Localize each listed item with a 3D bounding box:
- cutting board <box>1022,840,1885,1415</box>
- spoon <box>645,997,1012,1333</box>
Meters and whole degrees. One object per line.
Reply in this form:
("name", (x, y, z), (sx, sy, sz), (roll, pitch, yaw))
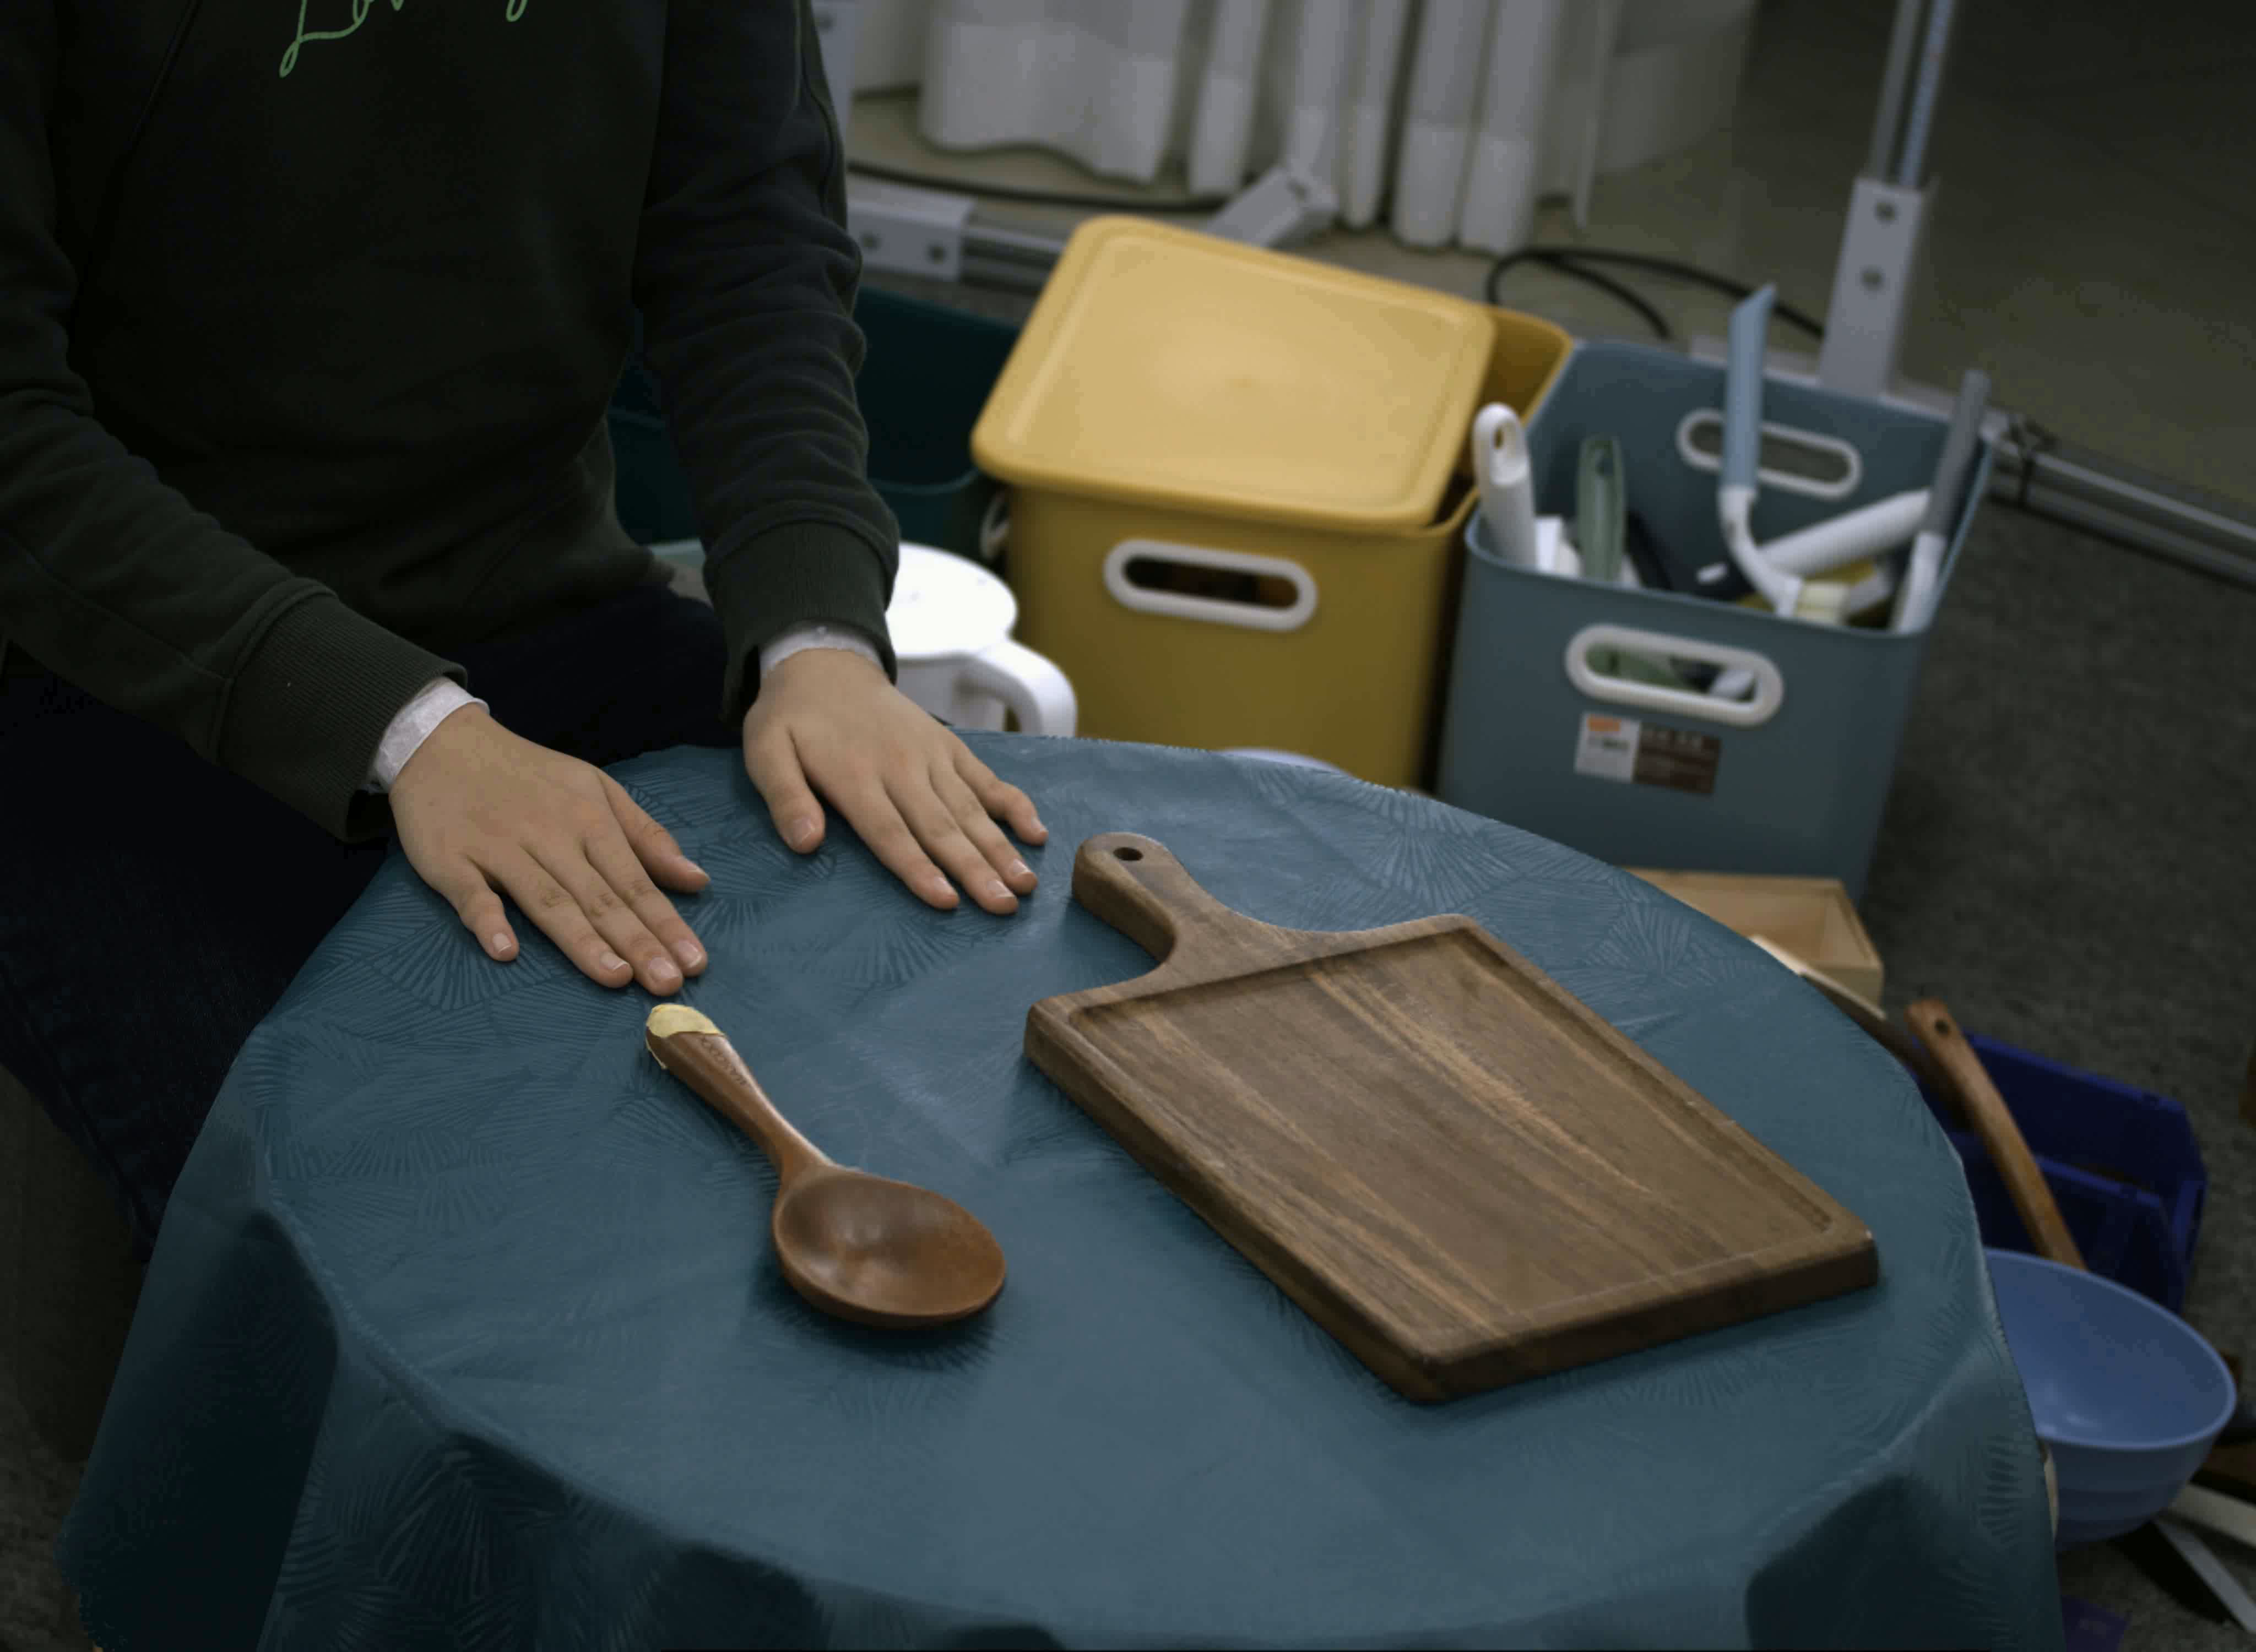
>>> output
("cutting board", (0.083, 0.089, 1.869), (0.200, 0.023, 0.355), (-12, 32, -30))
("spoon", (-0.108, 0.113, 1.776), (0.075, 0.017, 0.218), (-11, 32, -27))
